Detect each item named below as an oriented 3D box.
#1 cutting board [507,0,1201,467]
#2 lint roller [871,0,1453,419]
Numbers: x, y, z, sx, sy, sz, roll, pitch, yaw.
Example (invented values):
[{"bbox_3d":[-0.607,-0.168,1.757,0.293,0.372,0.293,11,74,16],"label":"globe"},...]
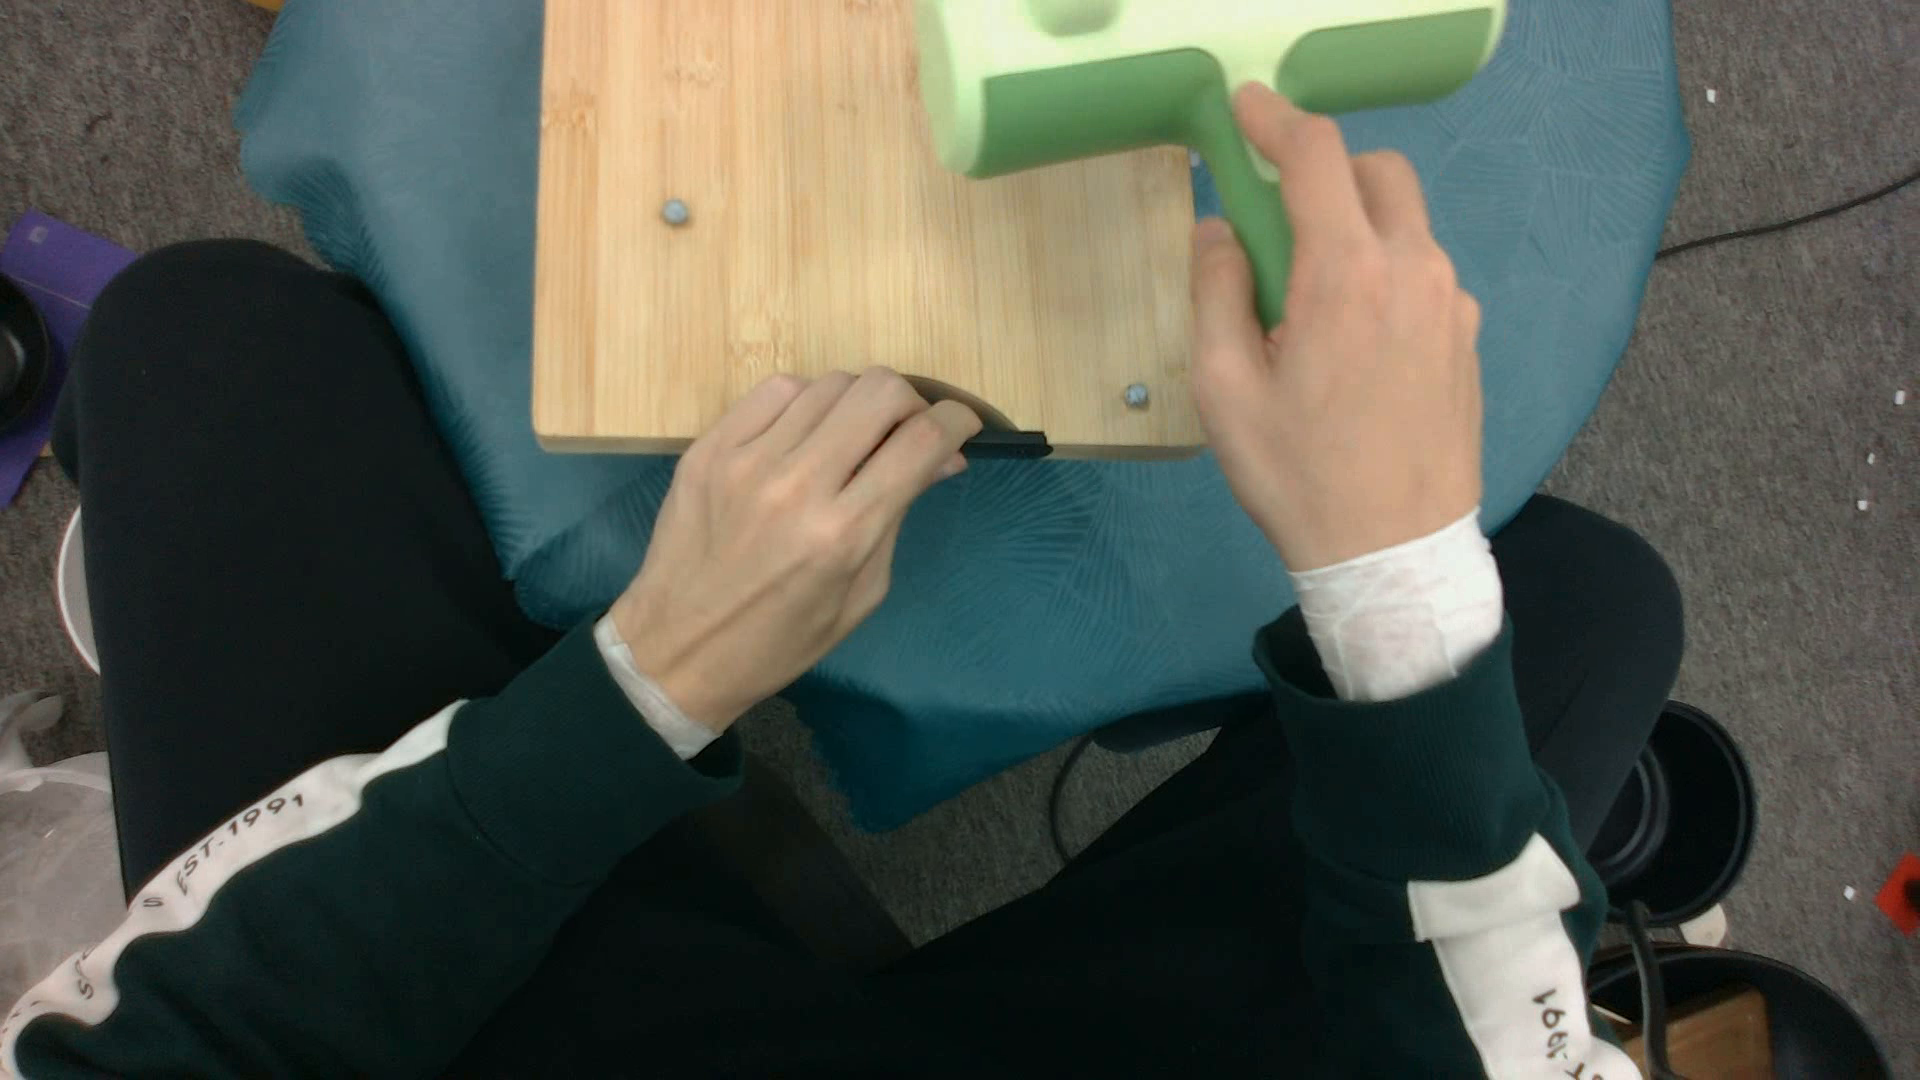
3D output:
[{"bbox_3d":[-0.044,-0.194,0.532,0.251,0.023,0.349,-2,74,-12],"label":"cutting board"},{"bbox_3d":[0.089,-0.130,0.433,0.199,0.082,0.184,-14,64,-15],"label":"lint roller"}]
